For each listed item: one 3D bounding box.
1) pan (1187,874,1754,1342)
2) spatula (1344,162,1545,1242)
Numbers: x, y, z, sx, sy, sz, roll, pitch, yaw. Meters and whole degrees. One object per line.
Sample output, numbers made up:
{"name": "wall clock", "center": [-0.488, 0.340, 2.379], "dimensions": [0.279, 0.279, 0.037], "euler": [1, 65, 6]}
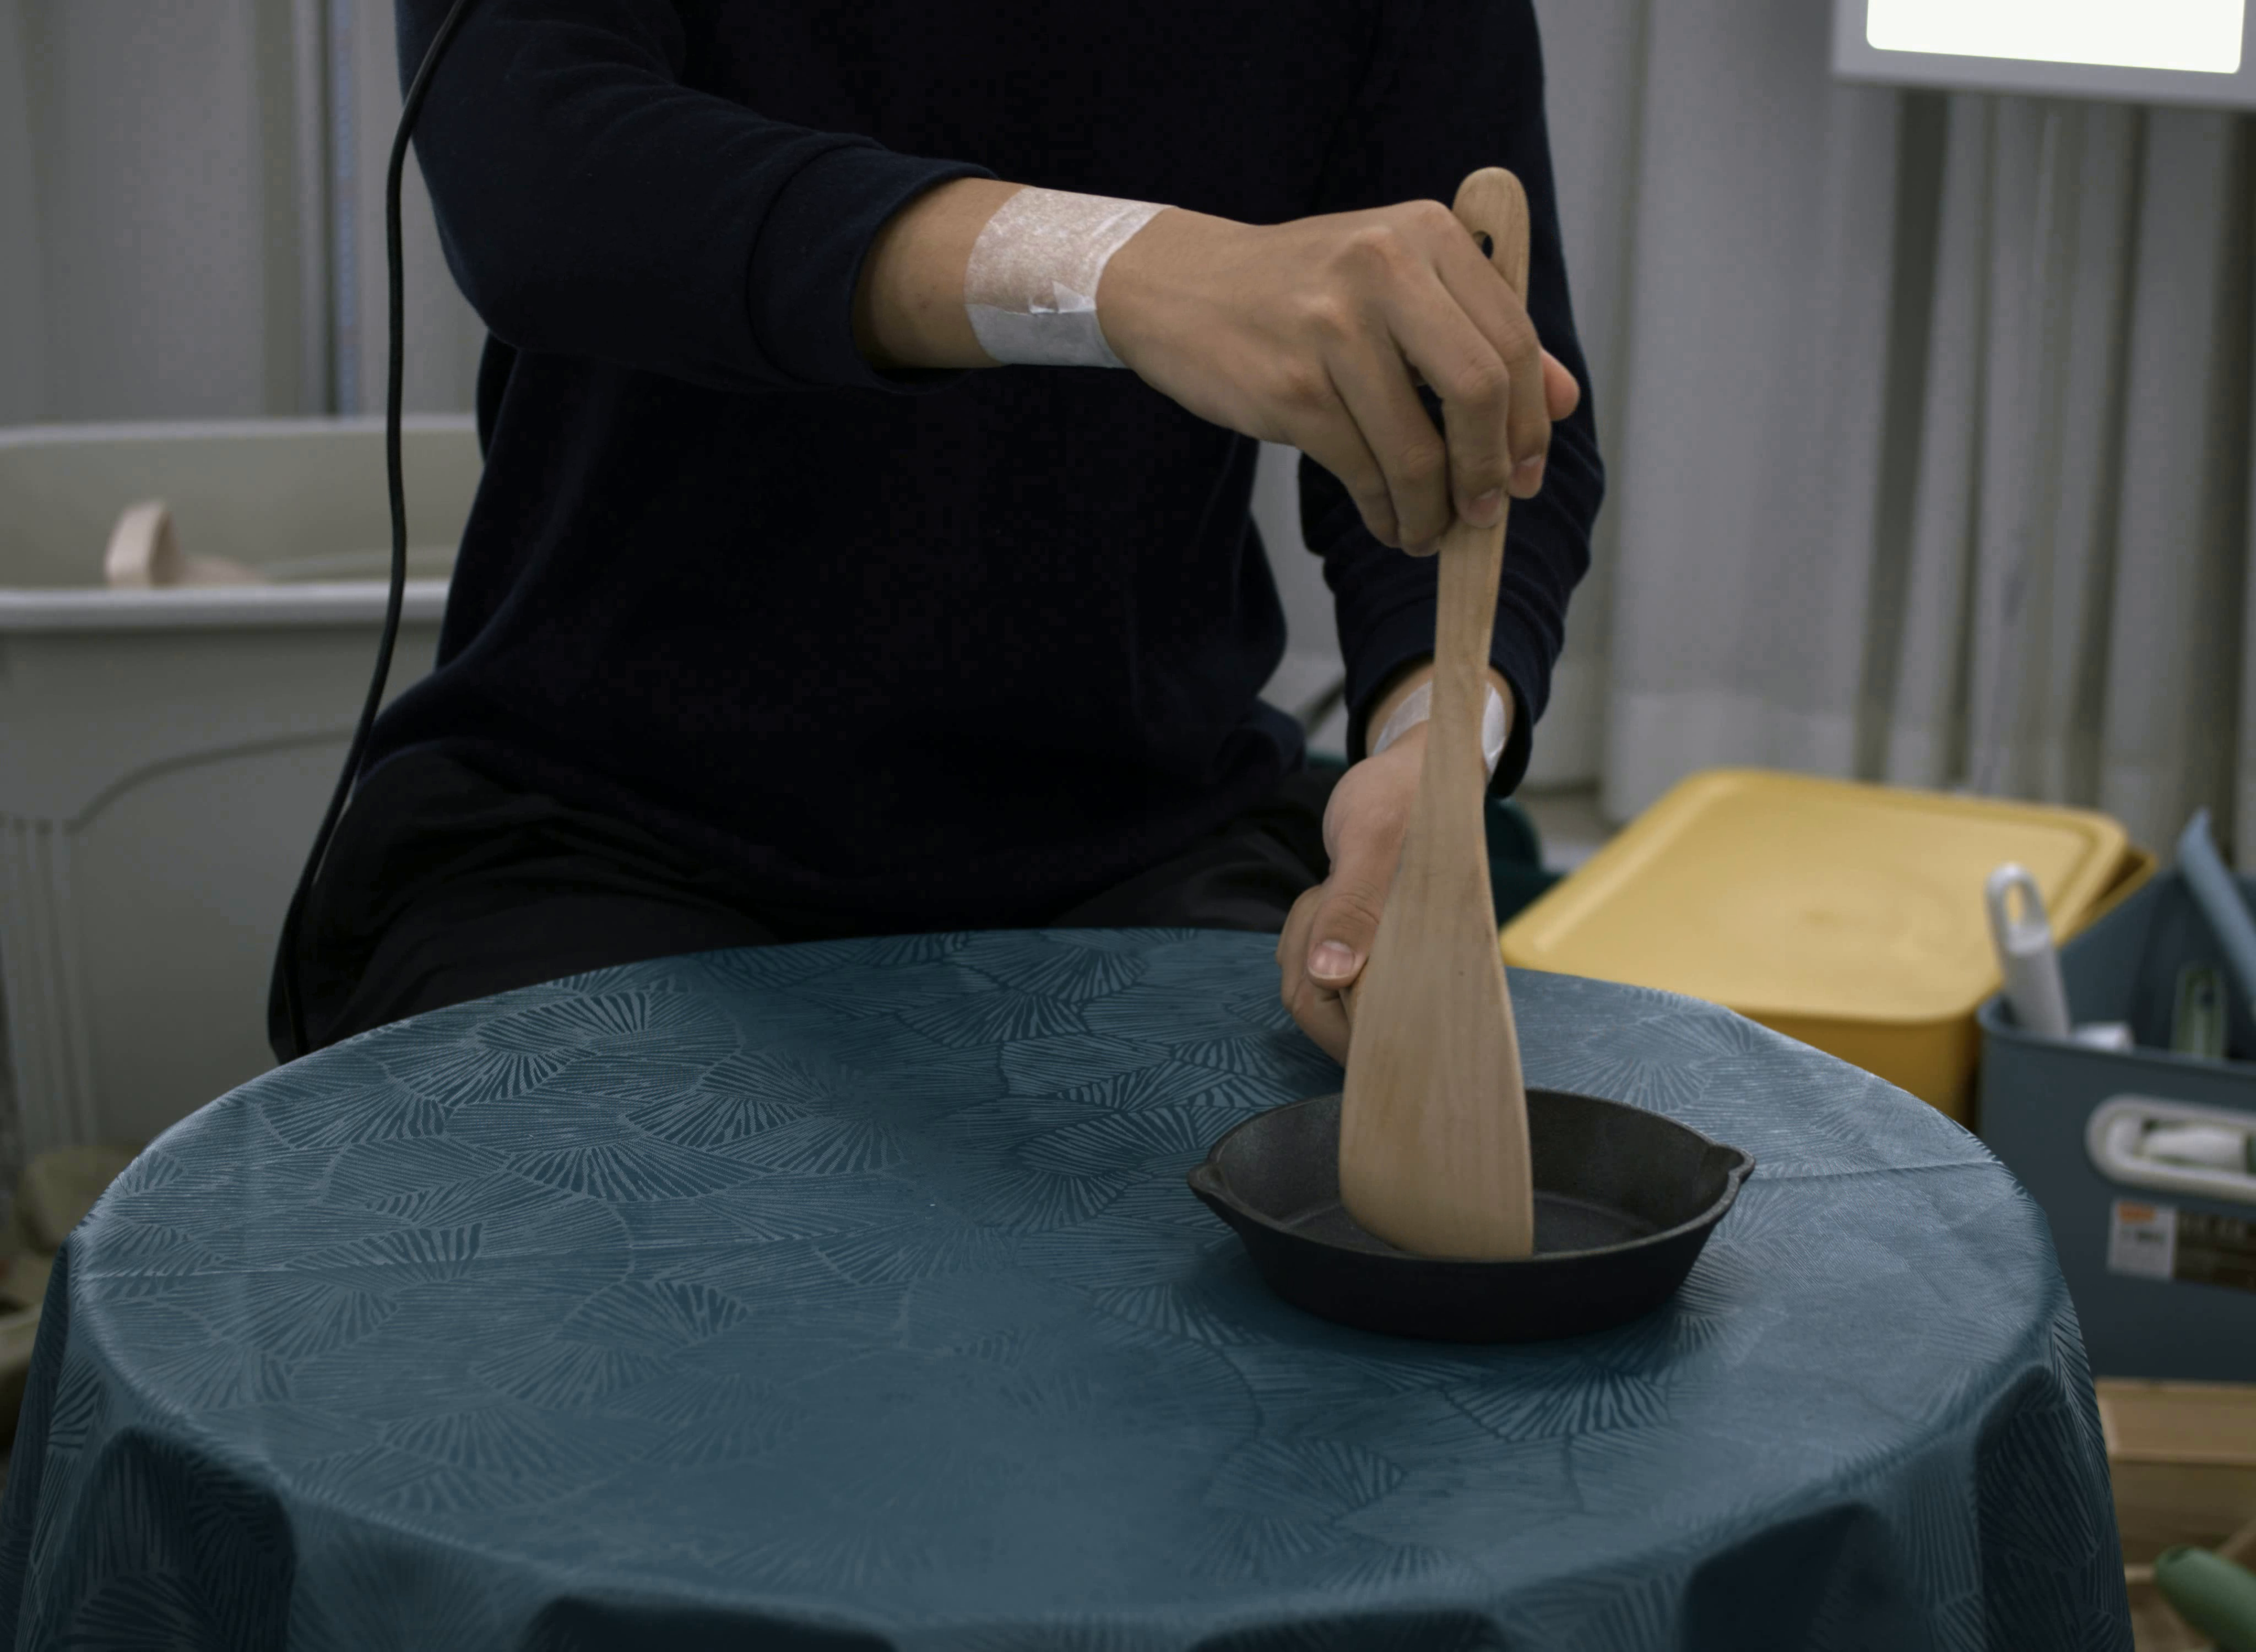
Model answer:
{"name": "pan", "center": [0.094, 0.084, 1.632], "dimensions": [0.168, 0.050, 0.322], "euler": [-1, 17, -5]}
{"name": "spatula", "center": [0.098, -0.026, 1.522], "dimensions": [0.016, 0.329, 0.079], "euler": [-2, 8, -44]}
